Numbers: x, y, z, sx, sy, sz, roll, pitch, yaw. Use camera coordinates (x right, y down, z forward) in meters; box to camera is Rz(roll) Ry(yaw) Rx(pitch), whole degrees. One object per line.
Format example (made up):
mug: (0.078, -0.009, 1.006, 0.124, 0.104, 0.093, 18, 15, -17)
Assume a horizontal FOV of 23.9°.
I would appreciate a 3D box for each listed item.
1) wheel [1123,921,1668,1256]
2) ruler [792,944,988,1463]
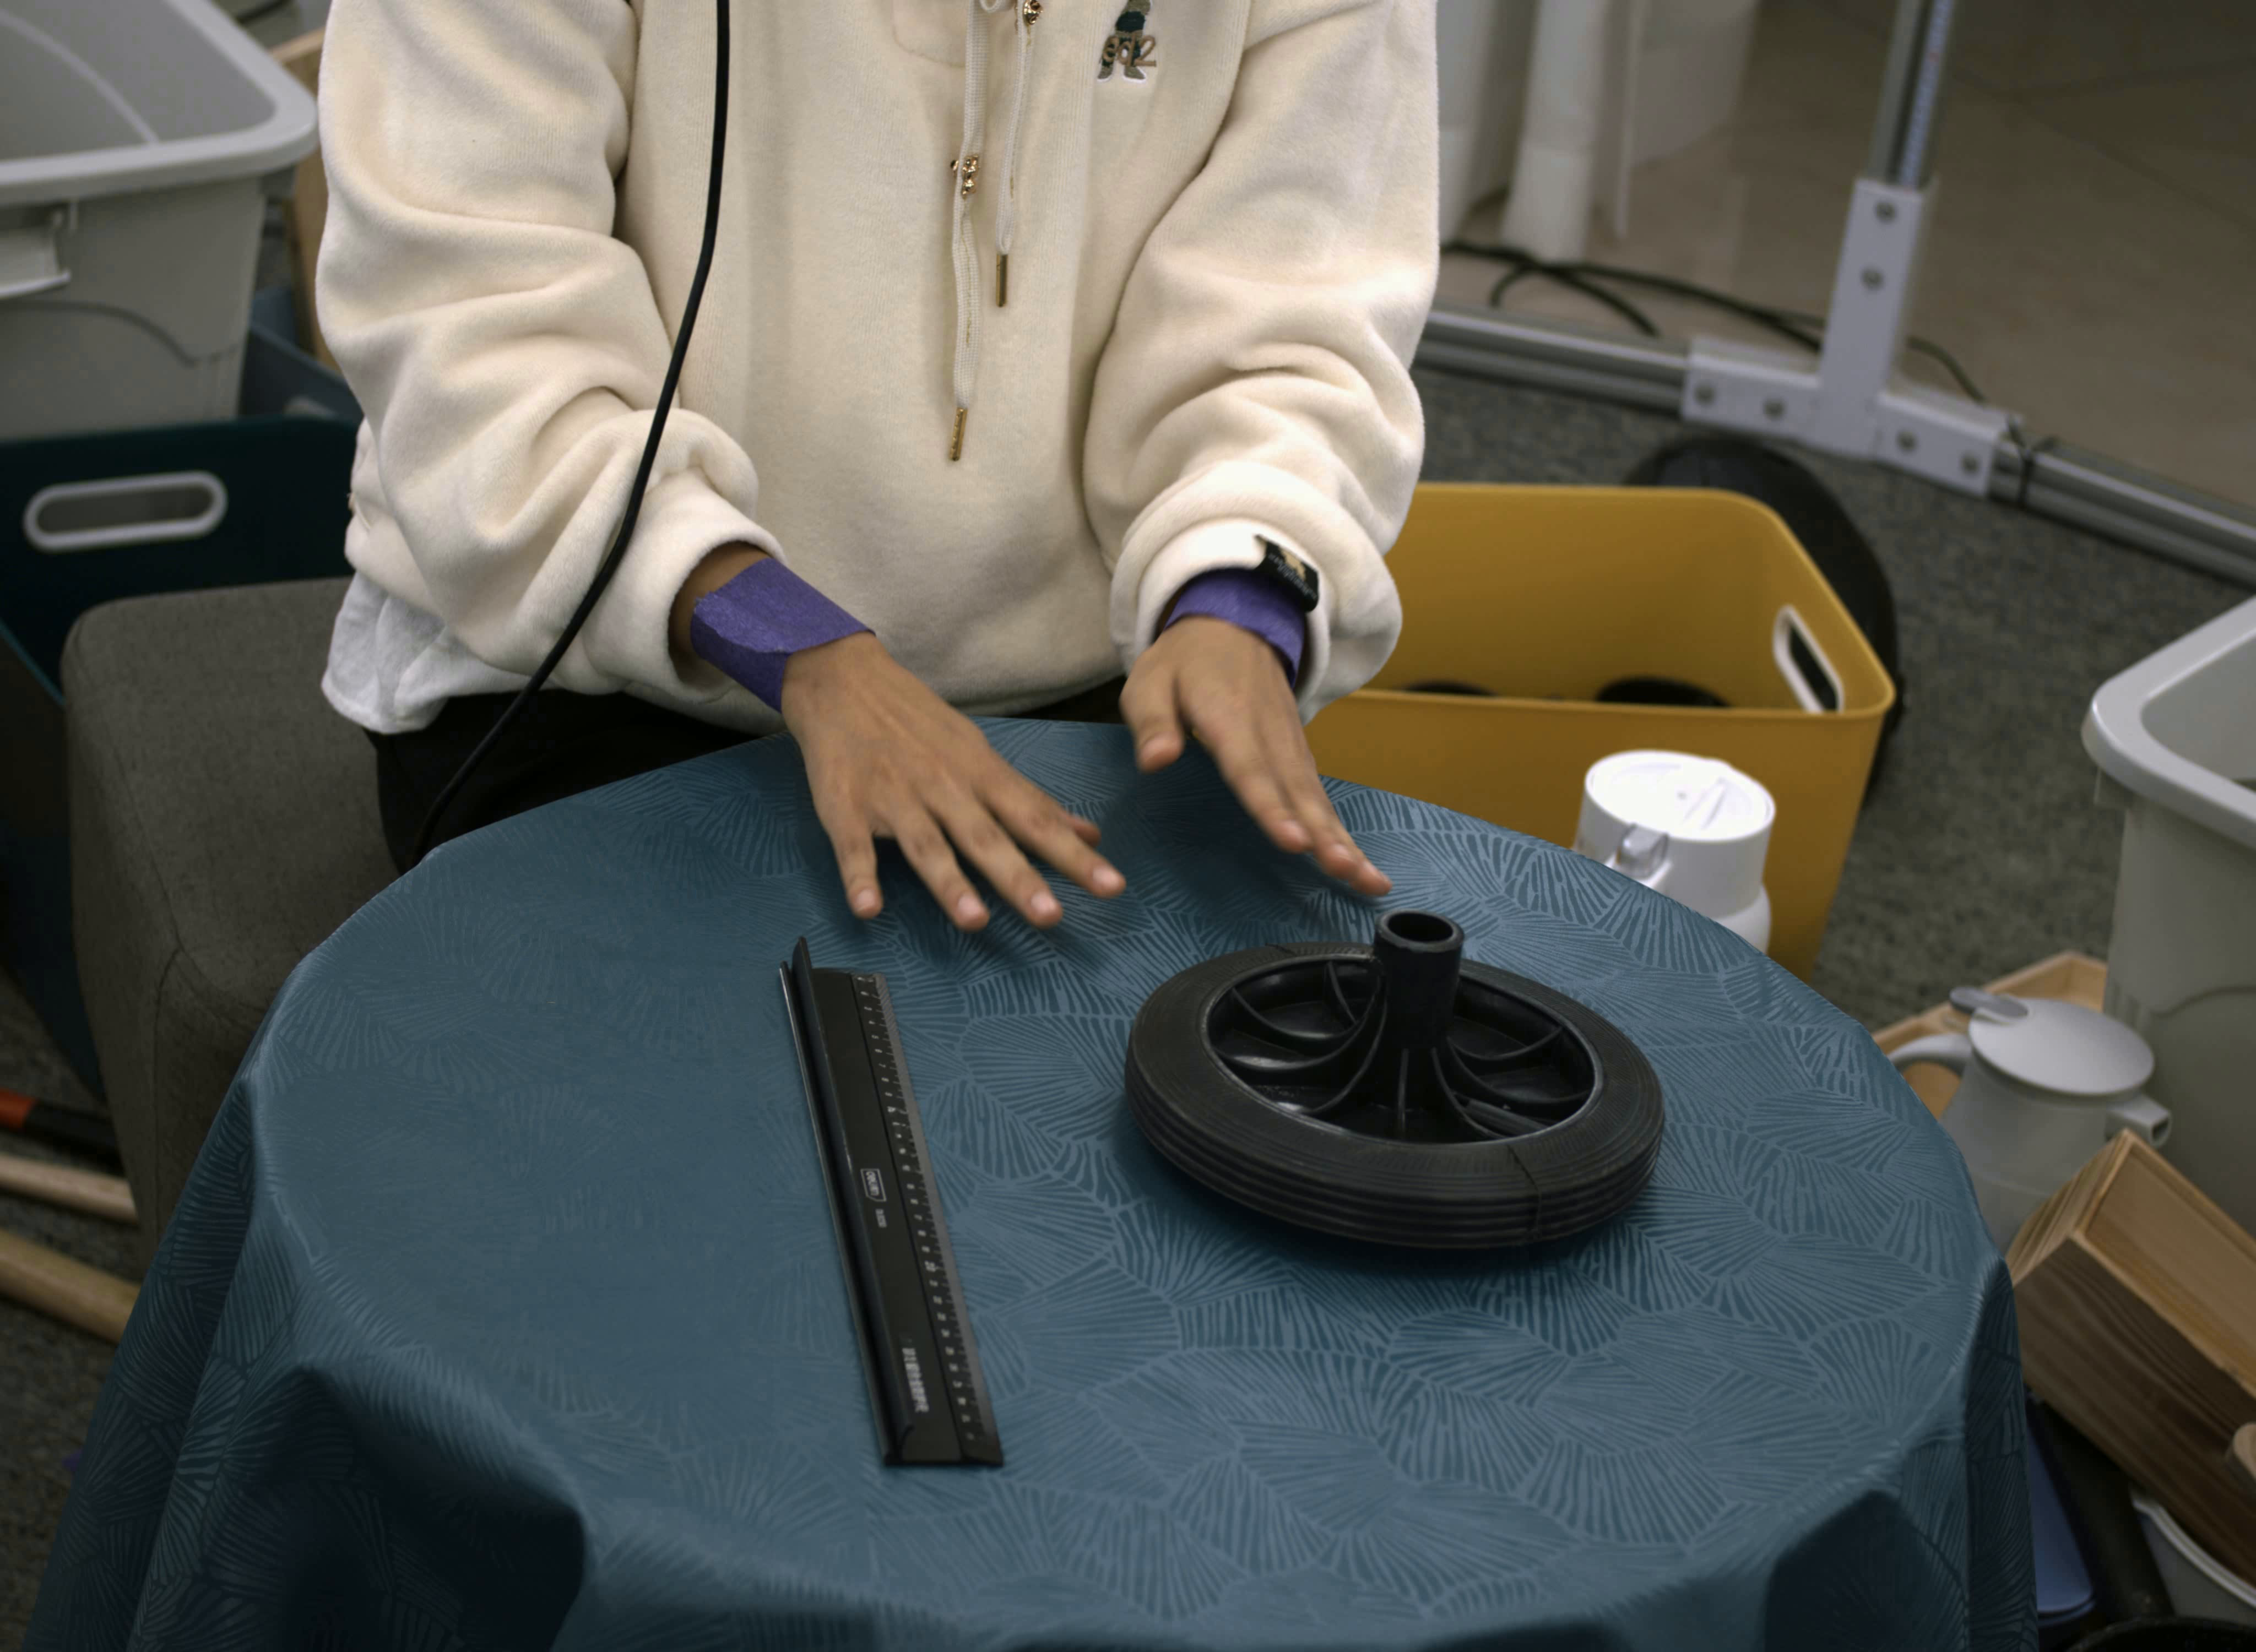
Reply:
wheel: (0.095, 0.075, 1.835, 0.189, 0.079, 0.188, 10, 25, 5)
ruler: (-0.080, 0.120, 1.774, 0.039, 0.017, 0.315, 5, 26, -11)
